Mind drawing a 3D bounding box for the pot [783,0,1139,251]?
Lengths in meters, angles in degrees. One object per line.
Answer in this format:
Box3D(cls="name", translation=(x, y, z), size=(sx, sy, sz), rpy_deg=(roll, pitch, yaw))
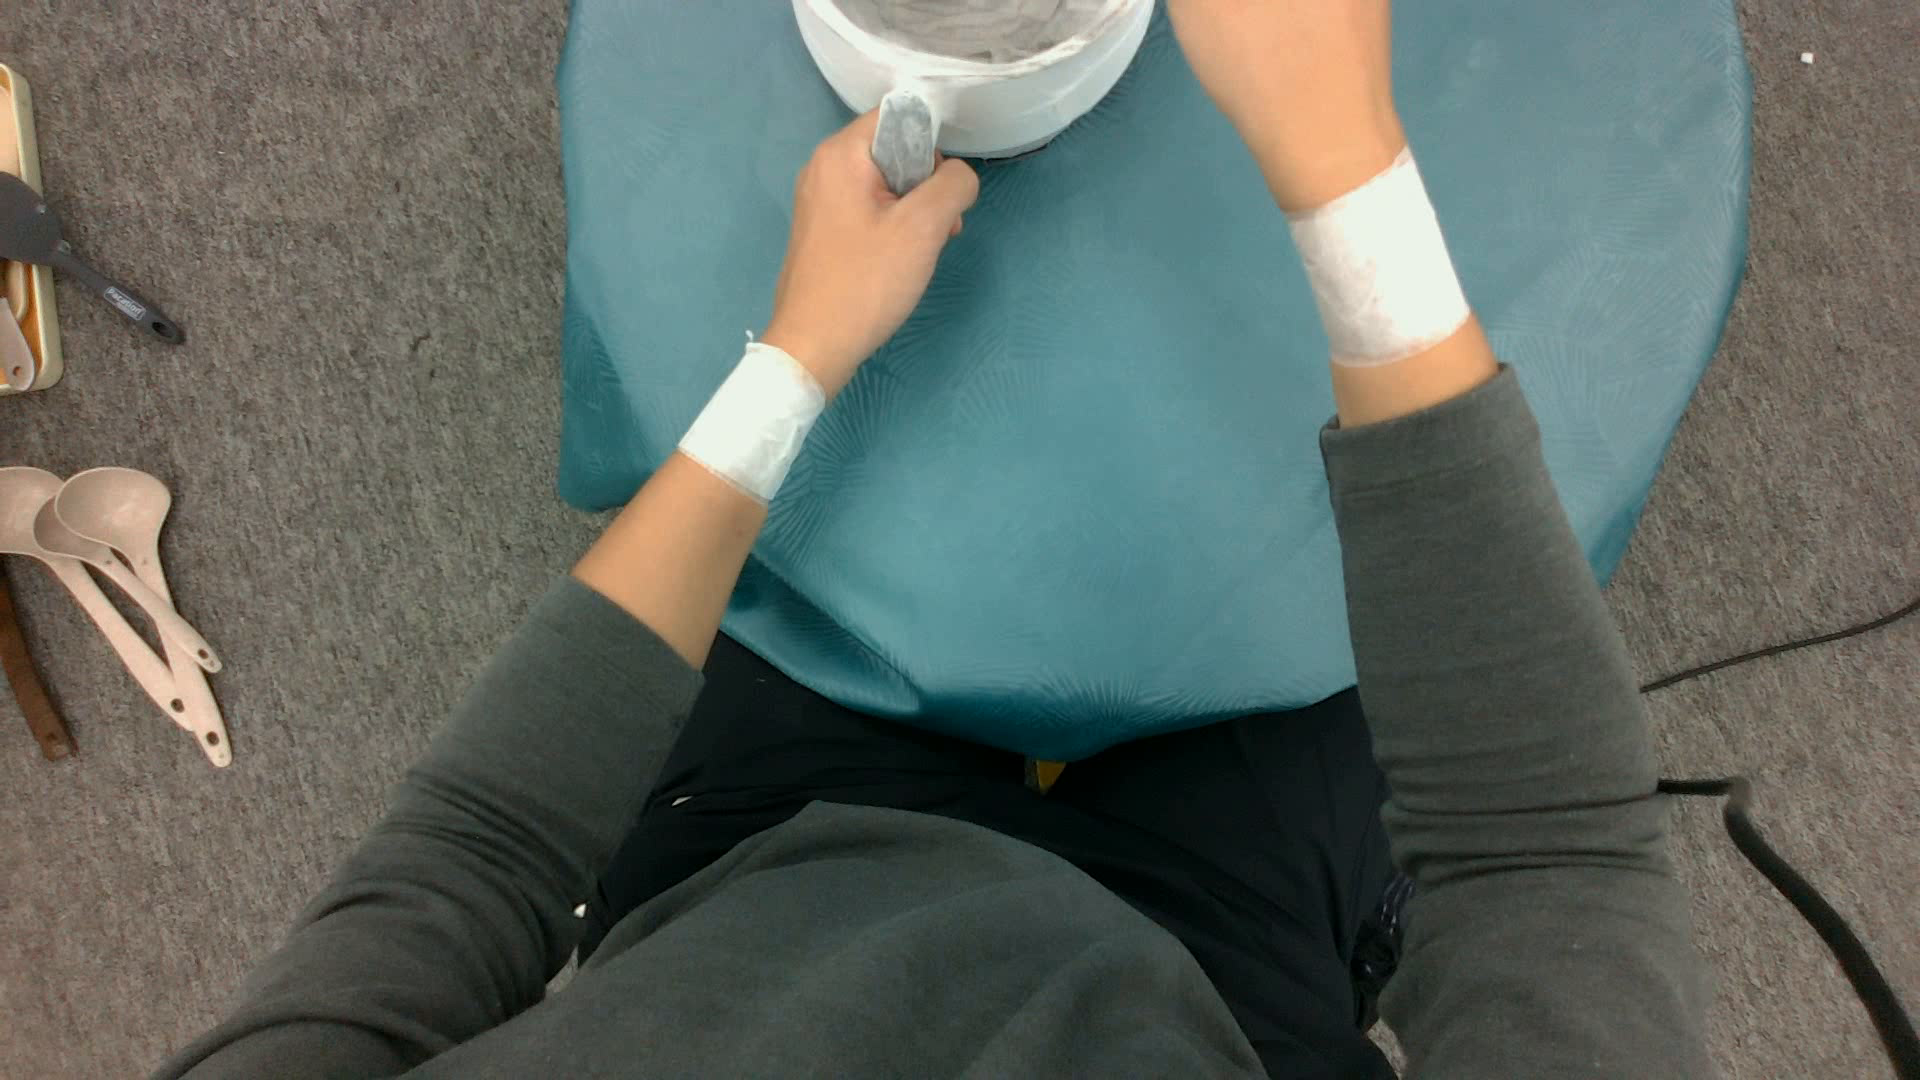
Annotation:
Box3D(cls="pot", translation=(-0.006, -0.253, 0.627), size=(0.179, 0.136, 0.233), rpy_deg=(14, 89, 1))
